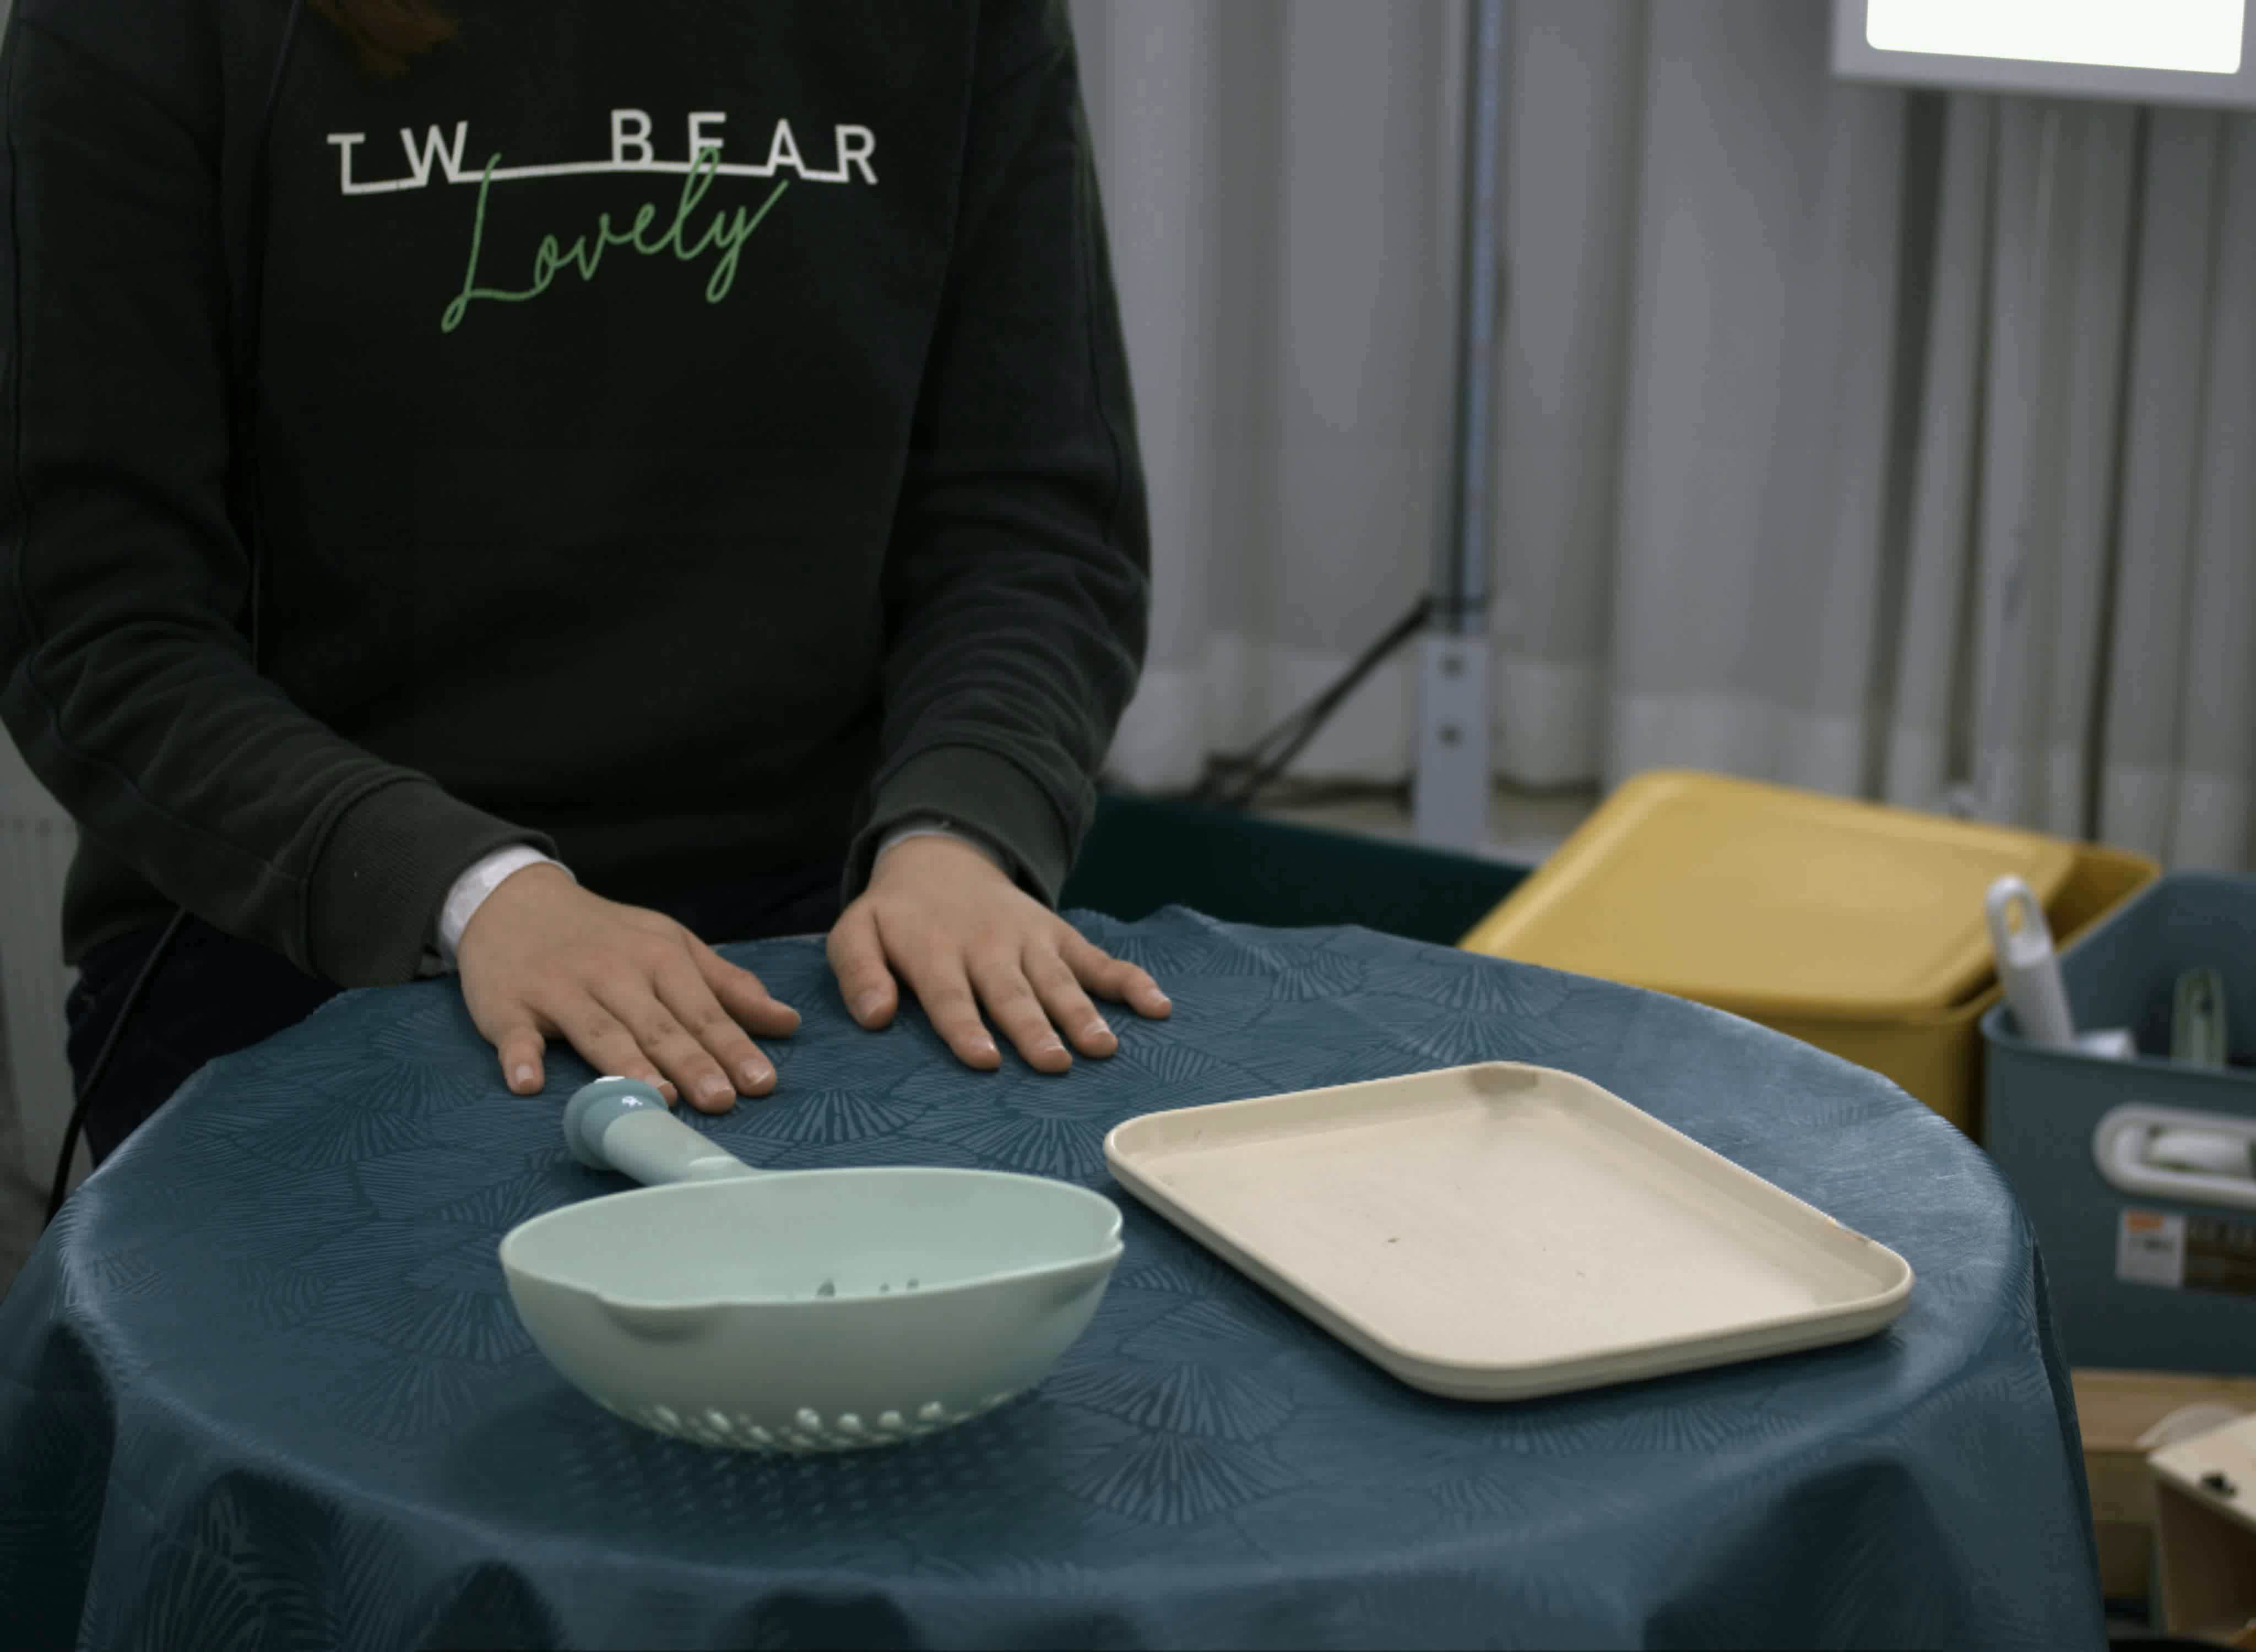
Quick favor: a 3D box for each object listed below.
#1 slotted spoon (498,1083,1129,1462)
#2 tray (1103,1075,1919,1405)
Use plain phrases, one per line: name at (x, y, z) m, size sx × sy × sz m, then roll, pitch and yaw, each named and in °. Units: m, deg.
slotted spoon at (-0.115, 0.111, 1.510) m, size 0.170 × 0.076 × 0.355 m, roll -4°, pitch 16°, yaw -18°
tray at (0.110, 0.121, 1.570) m, size 0.172 × 0.017 × 0.237 m, roll -7°, pitch 17°, yaw -26°
